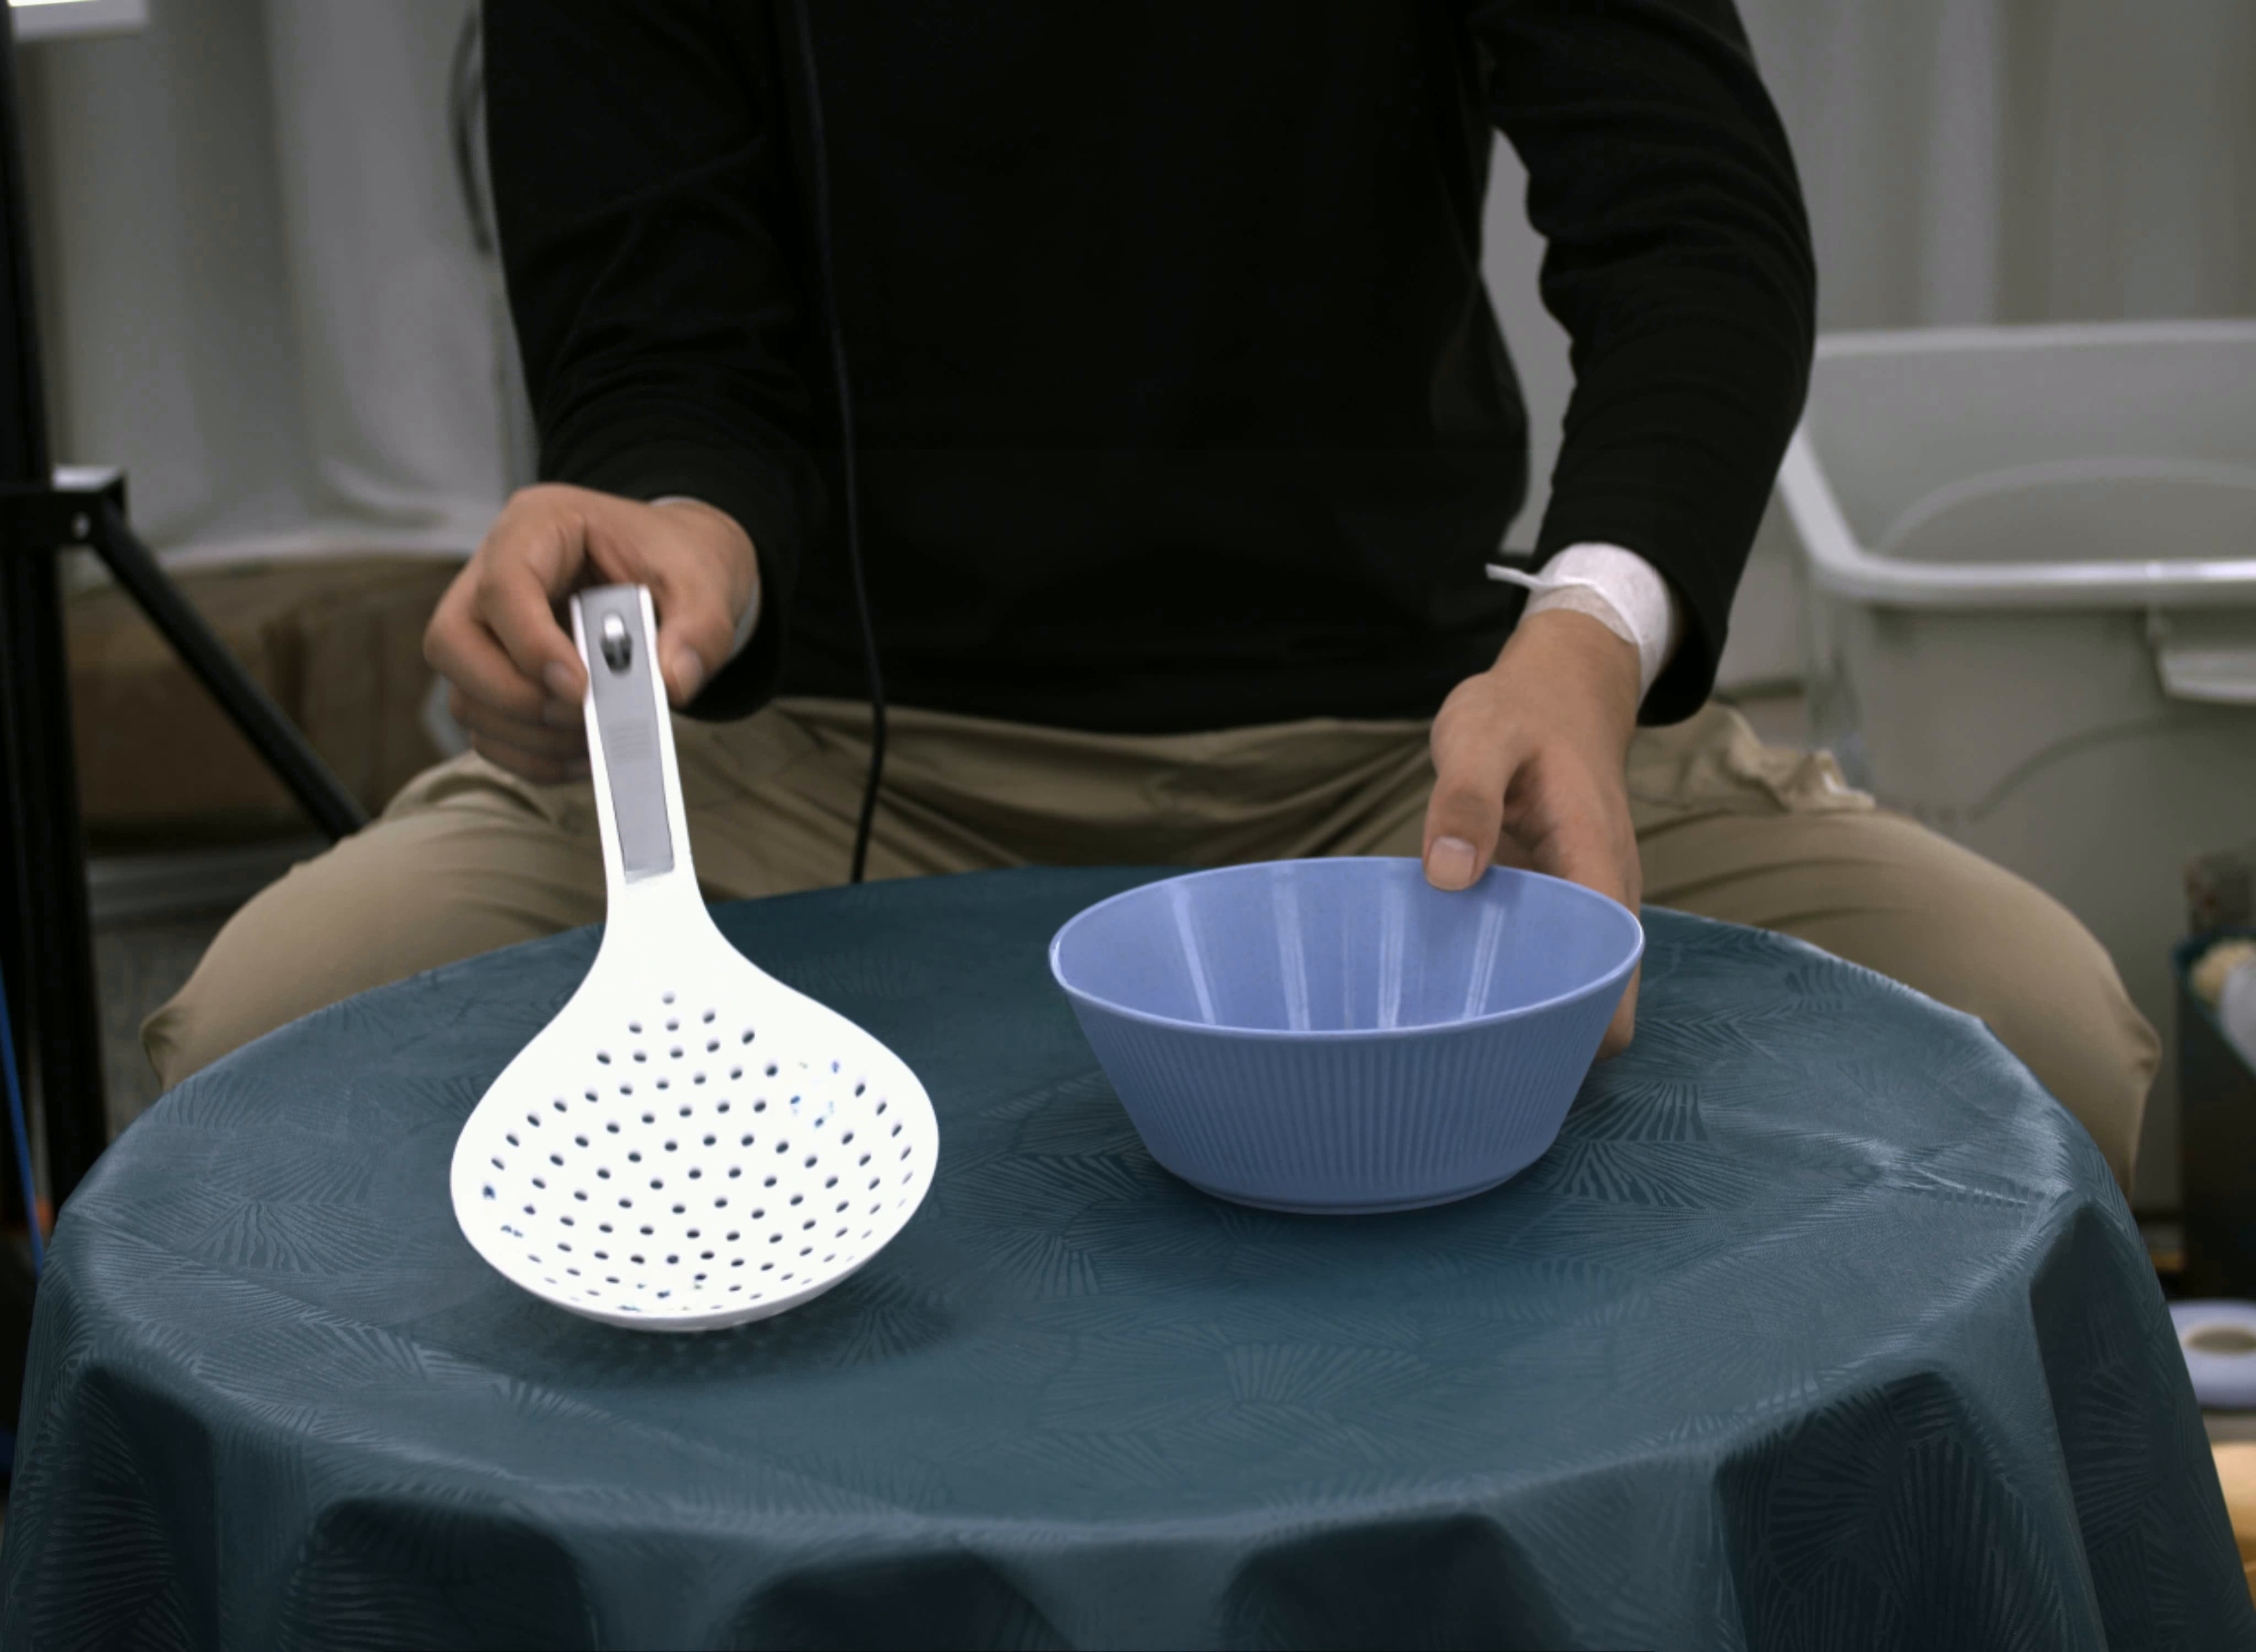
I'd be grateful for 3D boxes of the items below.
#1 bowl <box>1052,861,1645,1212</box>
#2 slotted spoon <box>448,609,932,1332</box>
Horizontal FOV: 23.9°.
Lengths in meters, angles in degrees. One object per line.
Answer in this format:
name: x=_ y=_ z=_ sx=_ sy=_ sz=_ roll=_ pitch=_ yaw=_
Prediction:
bowl: x=0.066 y=0.065 z=1.572 sx=0.175 sy=0.070 sz=0.177 roll=-3 pitch=15 yaw=-1
slotted spoon: x=-0.138 y=0.036 z=1.573 sx=0.135 sy=0.045 sz=0.355 roll=-9 pitch=40 yaw=-4
